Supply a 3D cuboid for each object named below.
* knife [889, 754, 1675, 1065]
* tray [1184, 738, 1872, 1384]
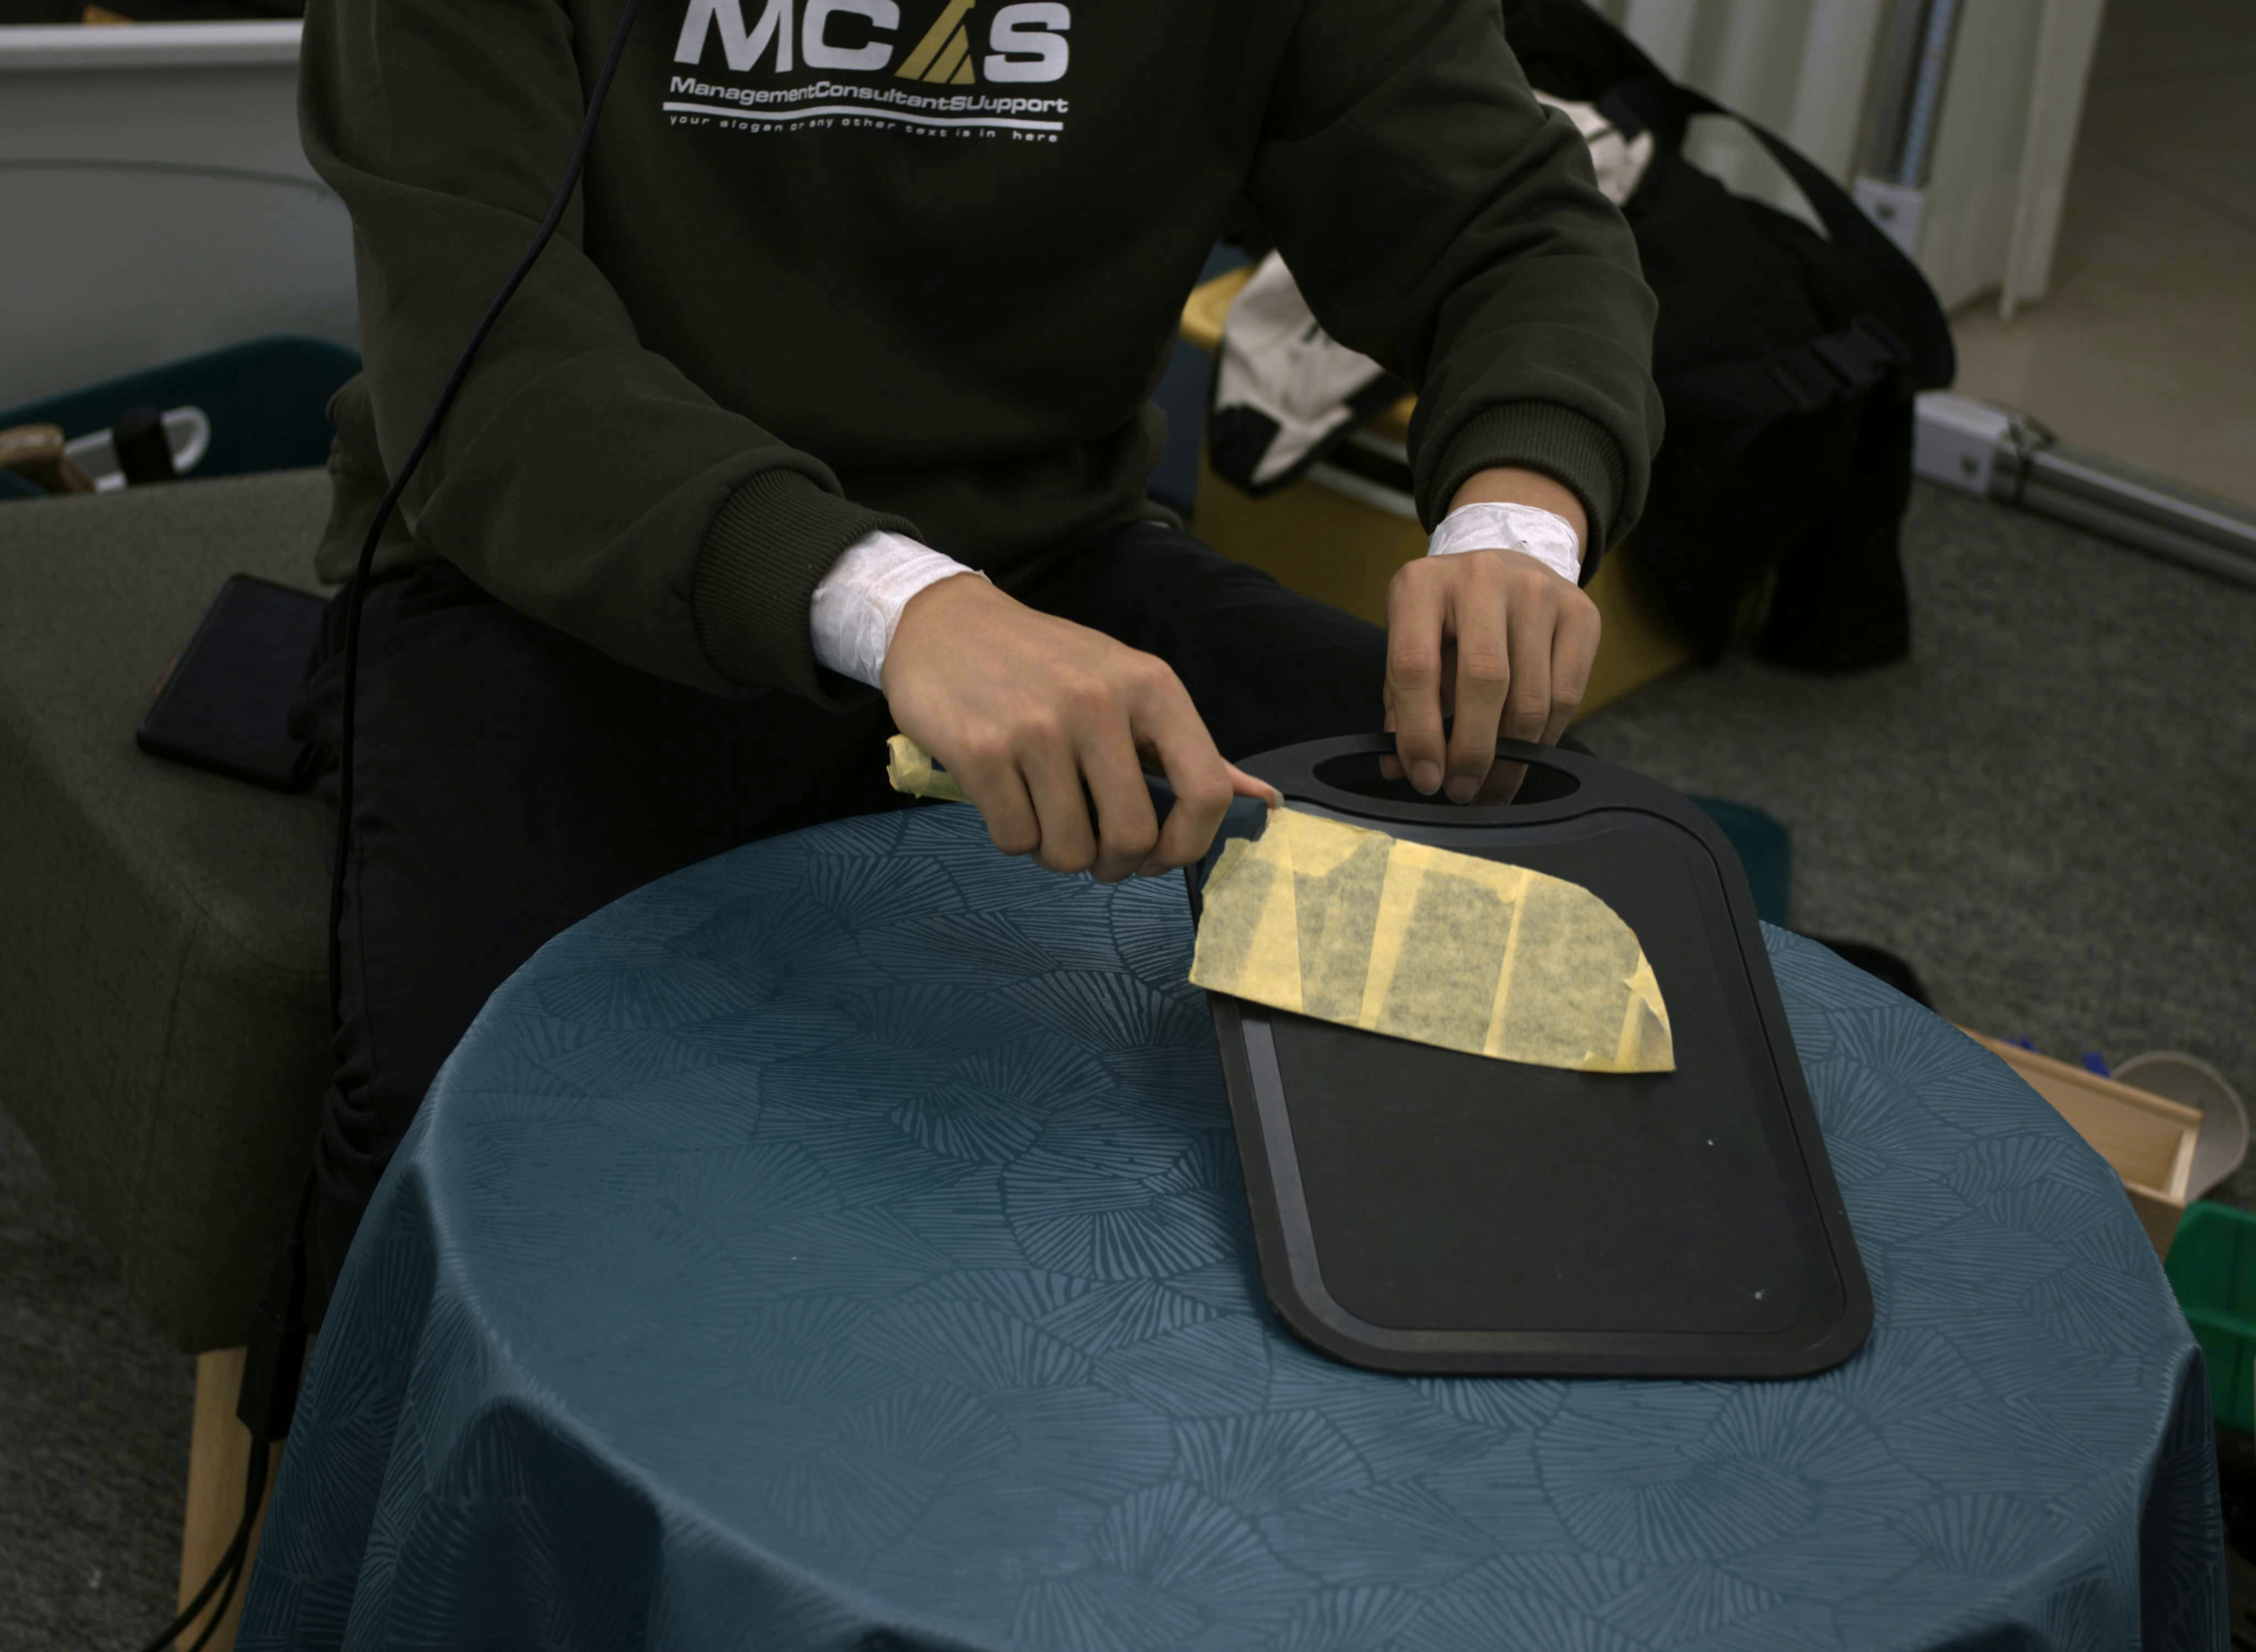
[{"bbox_3d":[0.052,0.029,1.858,0.289,0.027,0.081,15,65,4],"label":"knife"},{"bbox_3d":[0.132,0.073,1.849,0.210,0.010,0.328,2,40,-10],"label":"tray"}]
